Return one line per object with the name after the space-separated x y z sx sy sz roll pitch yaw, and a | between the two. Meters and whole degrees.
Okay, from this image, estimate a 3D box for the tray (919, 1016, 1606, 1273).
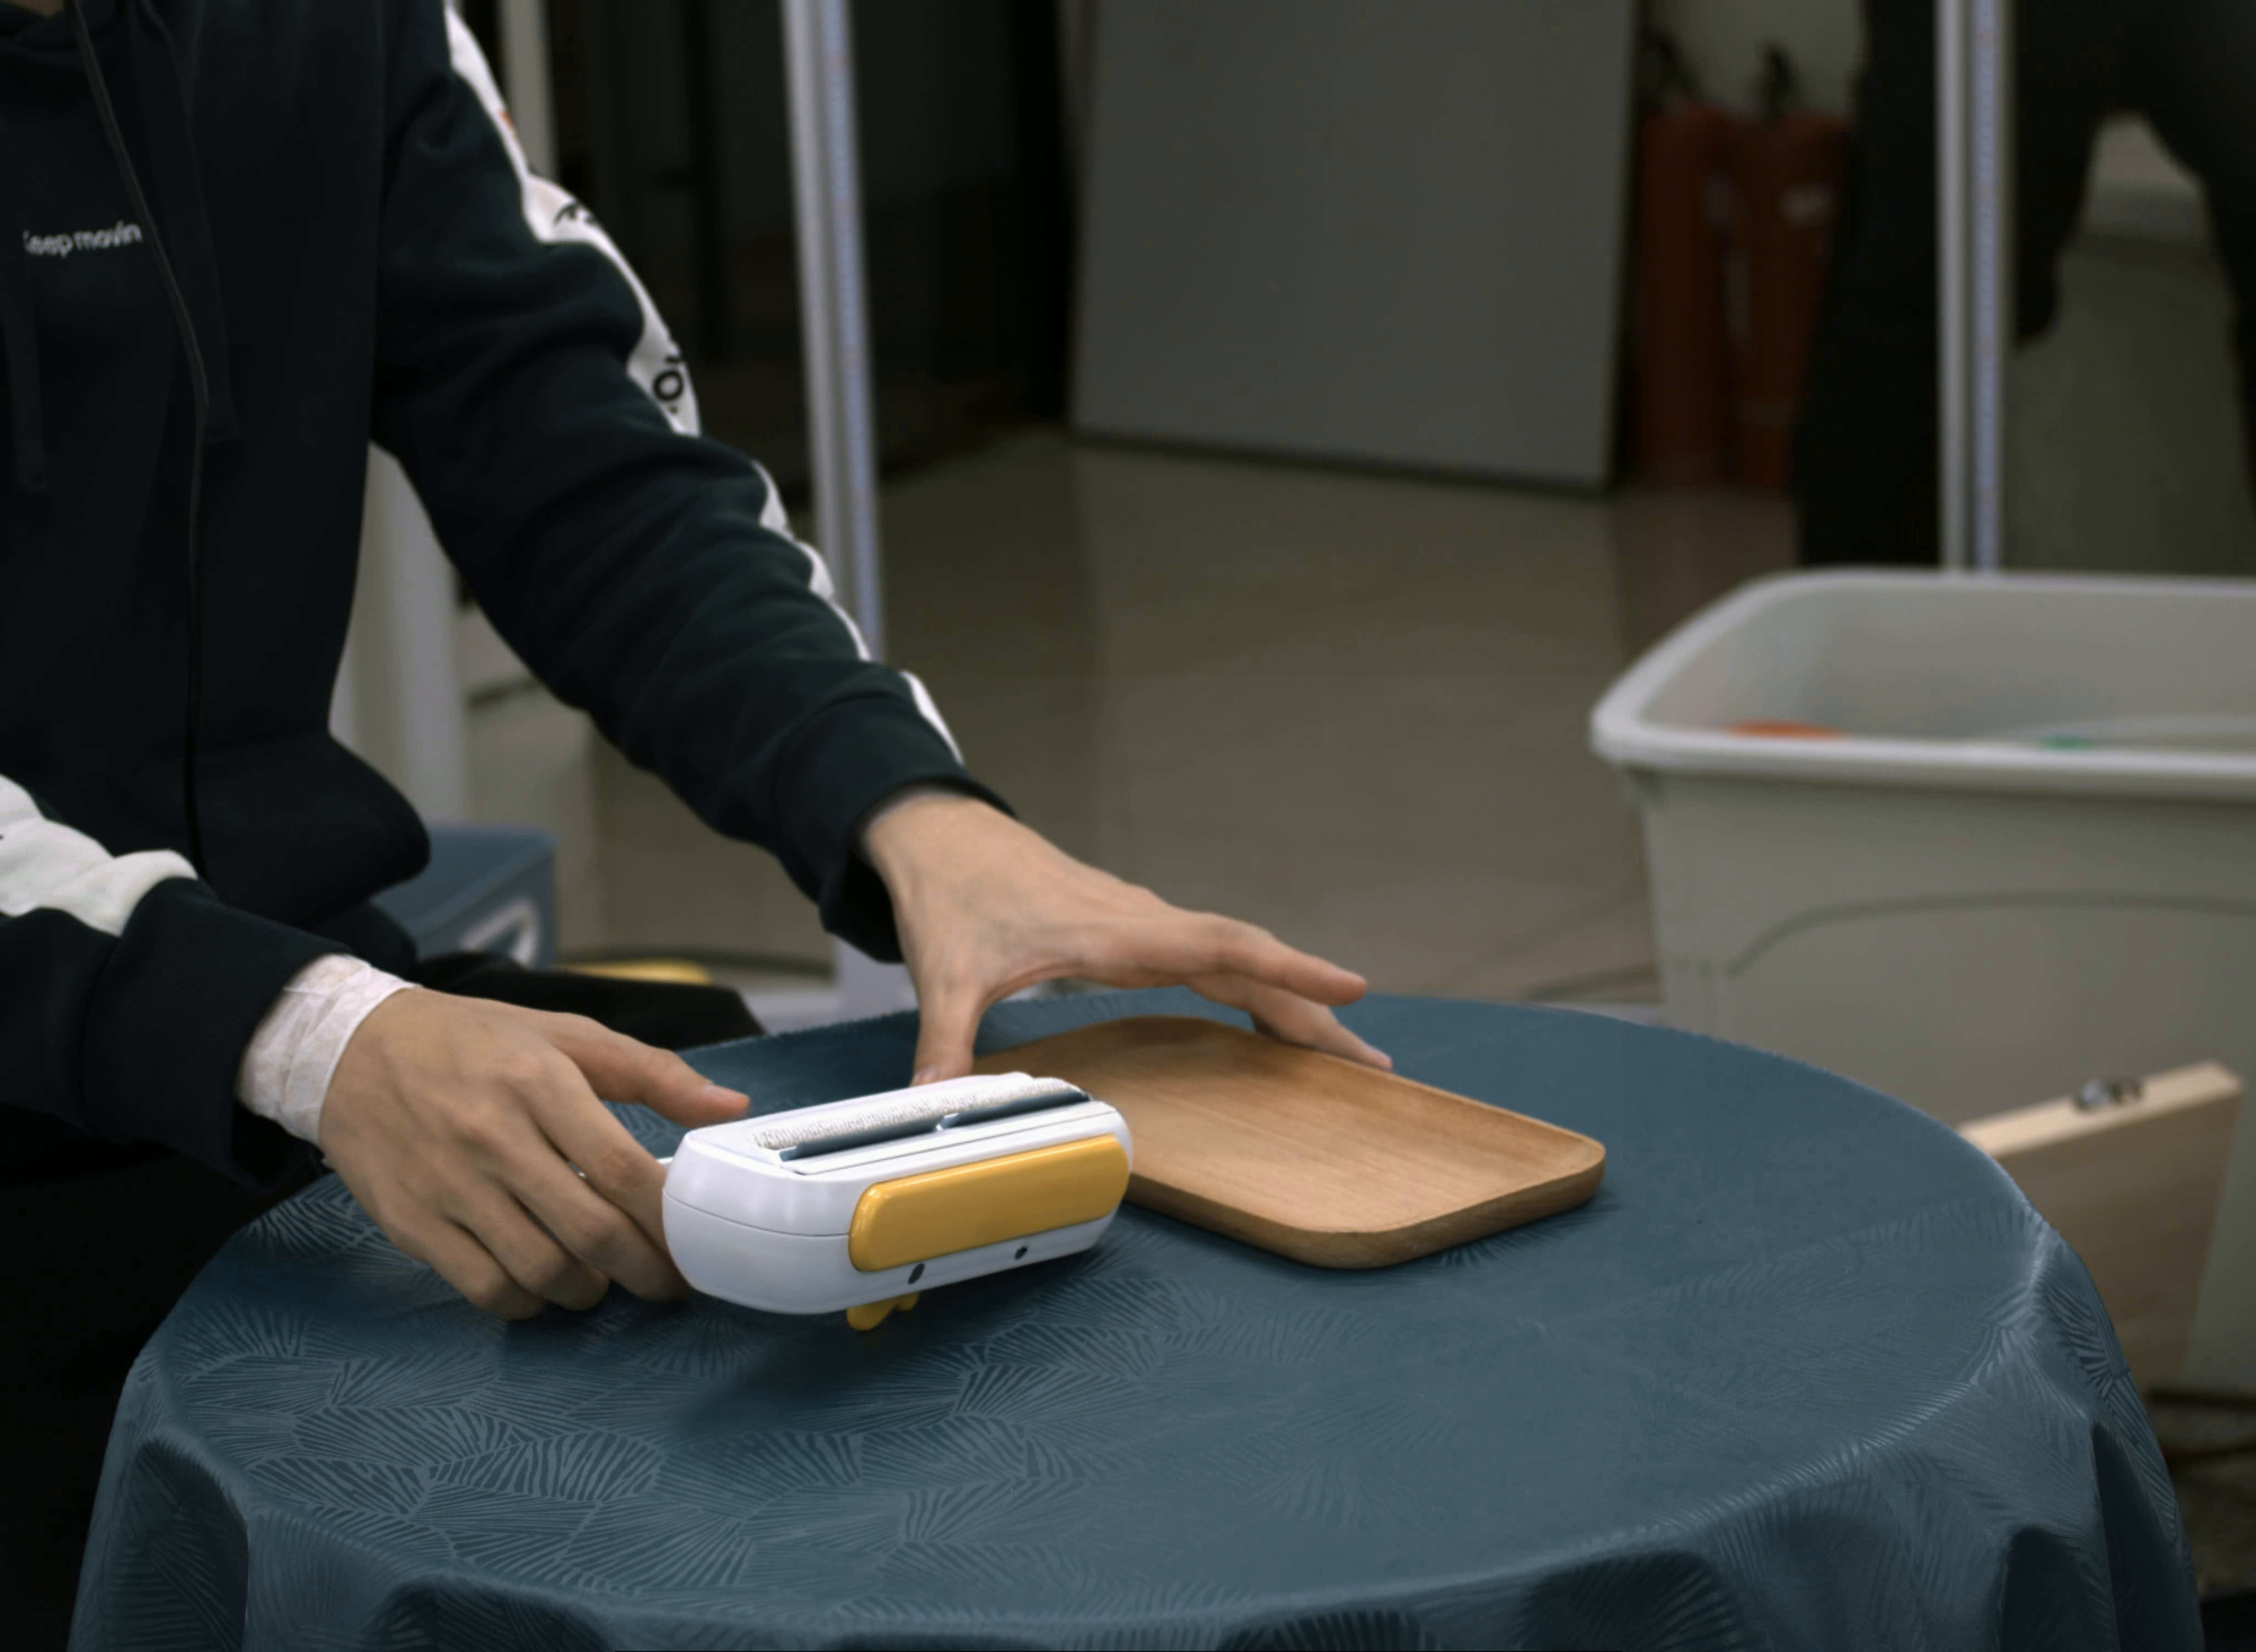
0.042 0.104 1.795 0.127 0.023 0.253 -11 15 -34 | tray

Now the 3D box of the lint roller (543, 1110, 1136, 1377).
-0.114 0.134 1.689 0.194 0.075 0.189 -12 -2 40 | lint roller
